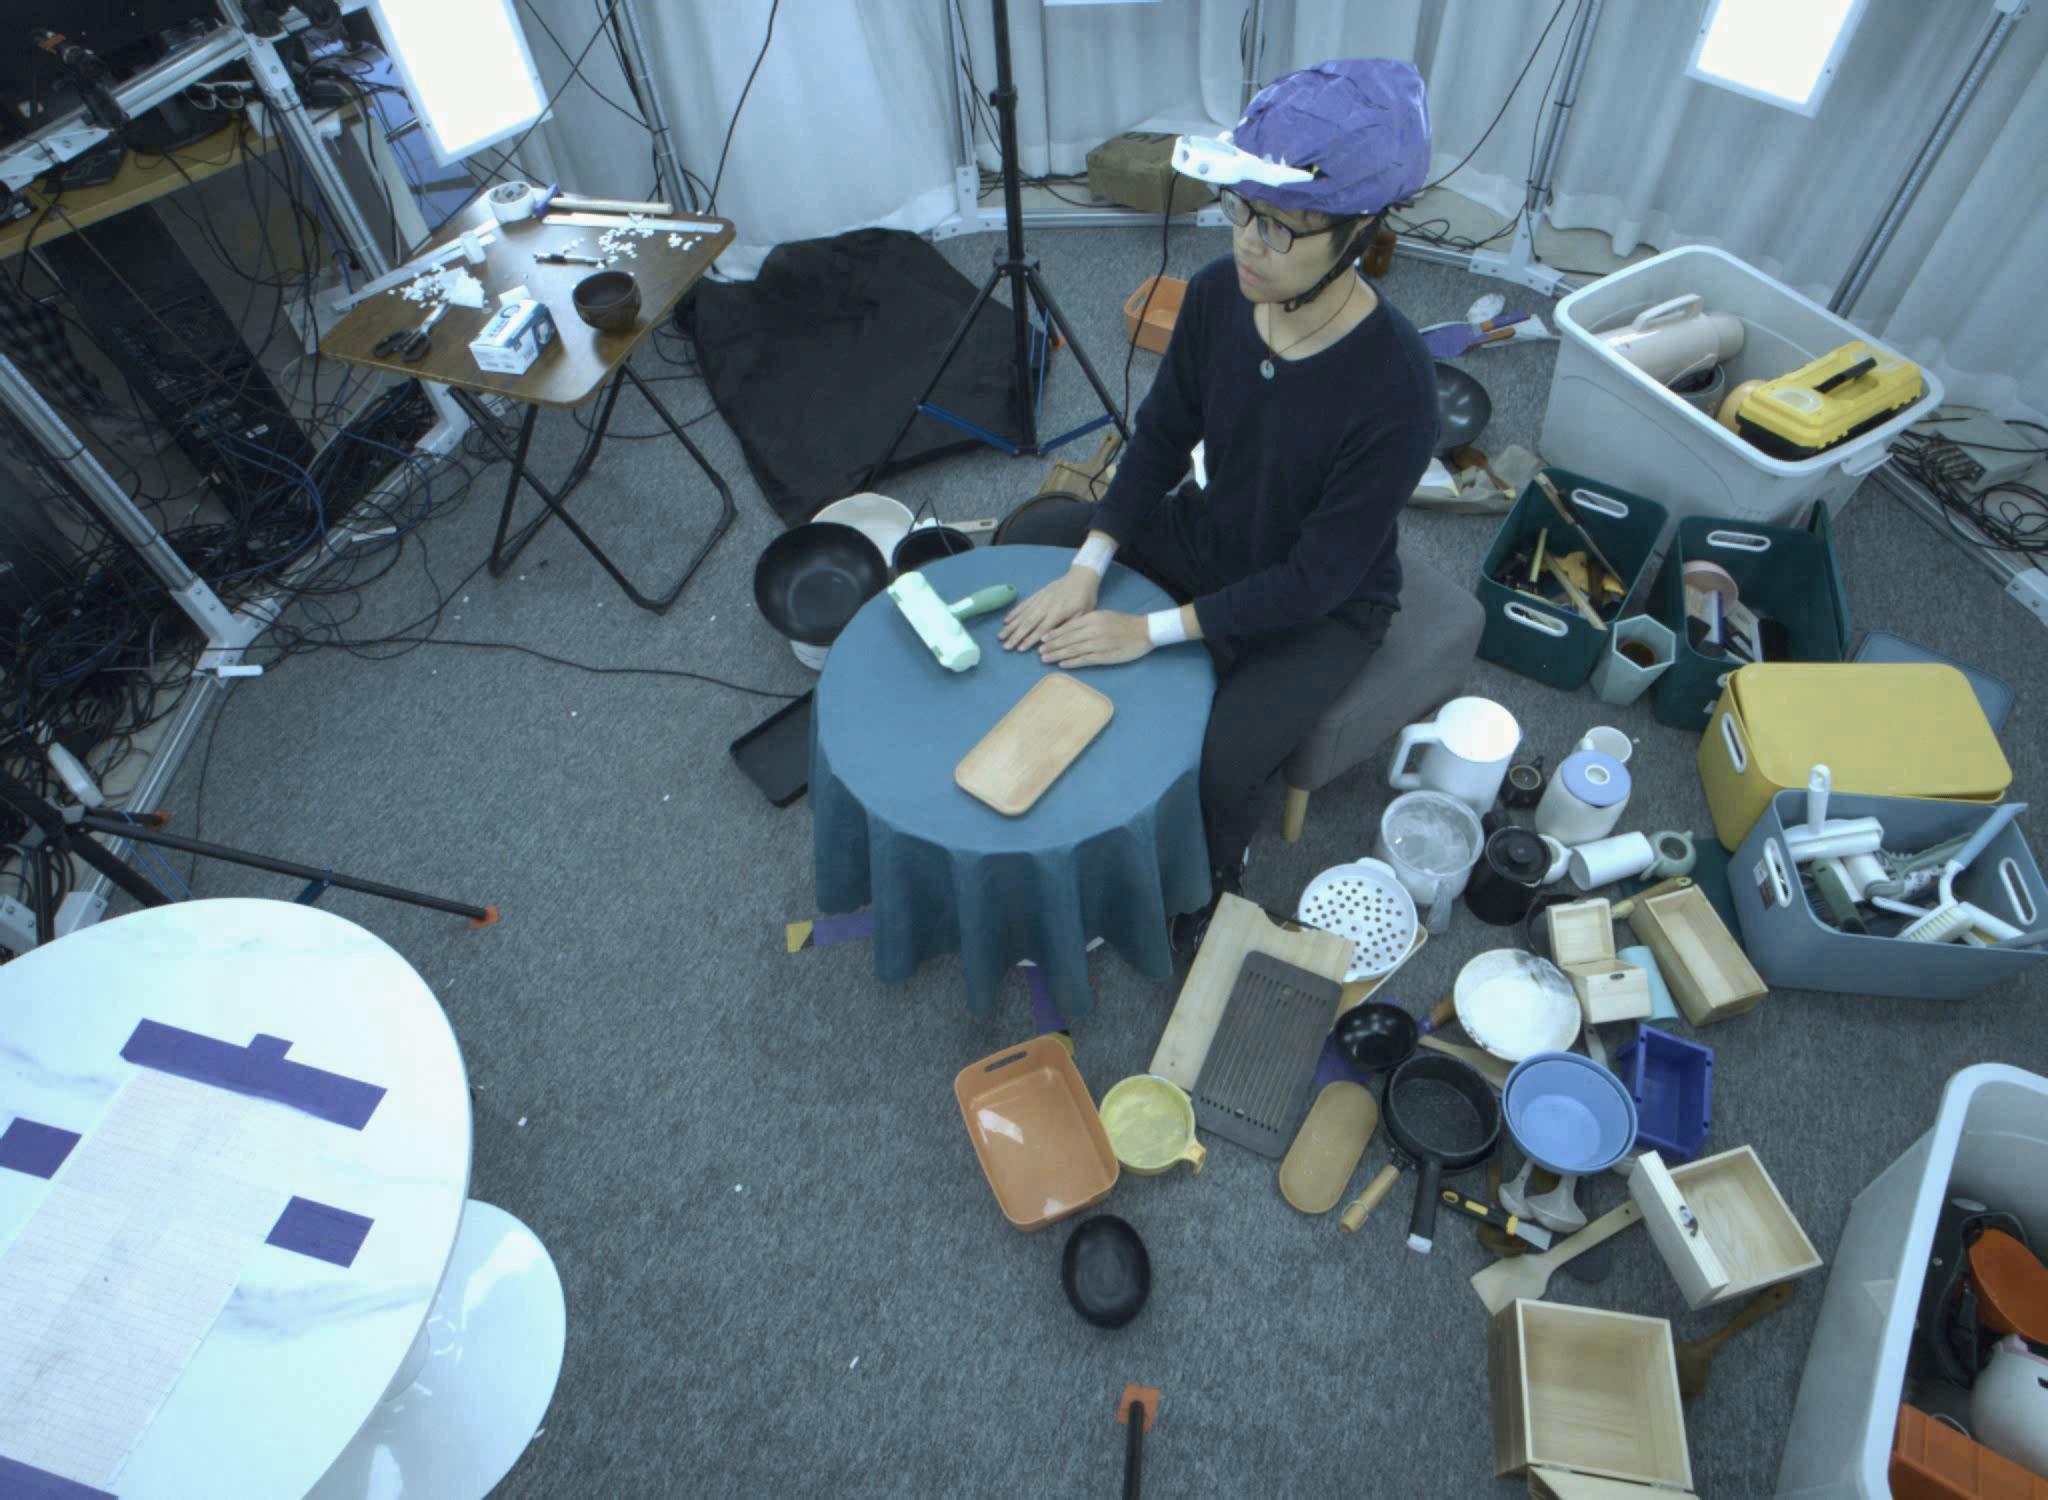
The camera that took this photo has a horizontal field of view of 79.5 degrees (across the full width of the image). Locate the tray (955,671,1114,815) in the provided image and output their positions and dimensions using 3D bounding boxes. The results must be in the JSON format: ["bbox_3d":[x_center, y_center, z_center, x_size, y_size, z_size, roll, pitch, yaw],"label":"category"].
[{"bbox_3d":[0.017,-0.012,1.785,0.128,0.023,0.252,33,62,20],"label":"tray"}]

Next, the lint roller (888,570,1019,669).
[{"bbox_3d":[-0.092,-0.236,1.903,0.184,0.083,0.195,-31,60,-11],"label":"lint roller"}]
